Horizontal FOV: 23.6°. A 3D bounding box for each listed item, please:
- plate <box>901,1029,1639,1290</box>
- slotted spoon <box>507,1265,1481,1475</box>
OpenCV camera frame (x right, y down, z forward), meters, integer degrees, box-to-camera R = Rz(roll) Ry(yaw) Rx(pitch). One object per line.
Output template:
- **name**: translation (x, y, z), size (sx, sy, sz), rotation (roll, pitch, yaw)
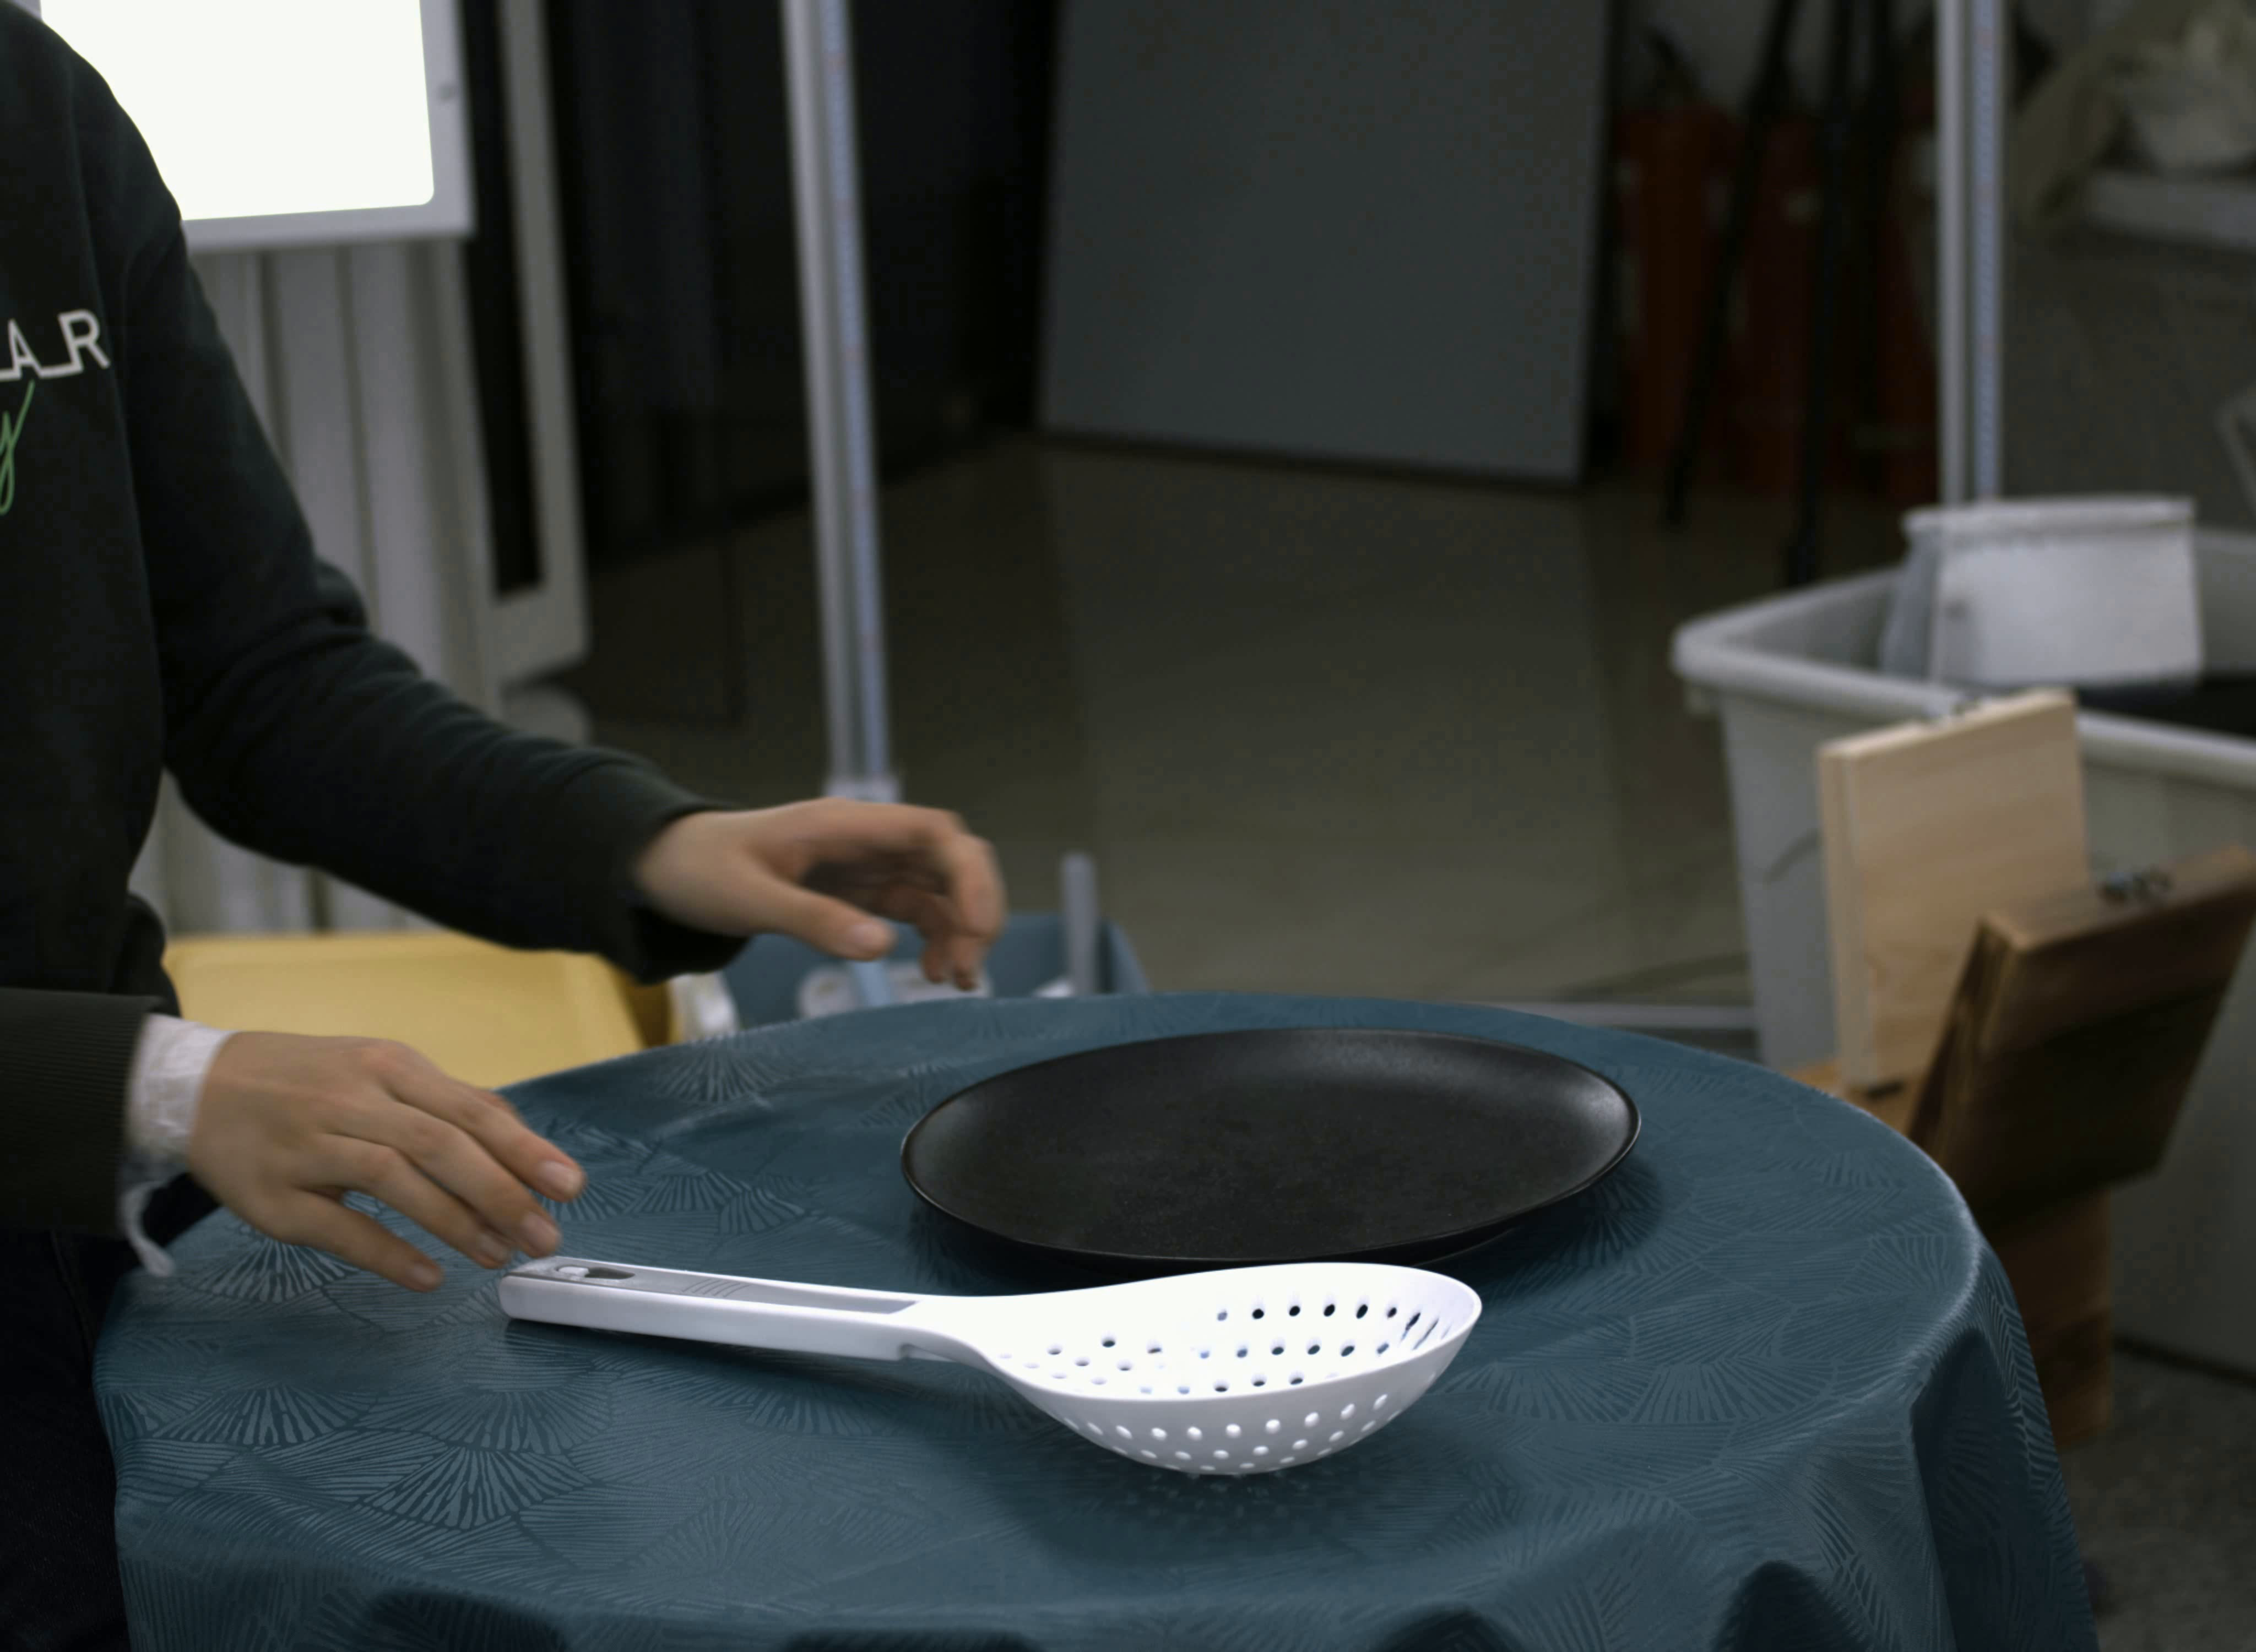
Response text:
- **plate**: translation (0.047, 0.110, 1.753), size (0.241, 0.024, 0.245), rotation (-4, 14, 0)
- **slotted spoon**: translation (-0.051, 0.148, 1.583), size (0.352, 0.046, 0.133), rotation (6, 14, 38)
